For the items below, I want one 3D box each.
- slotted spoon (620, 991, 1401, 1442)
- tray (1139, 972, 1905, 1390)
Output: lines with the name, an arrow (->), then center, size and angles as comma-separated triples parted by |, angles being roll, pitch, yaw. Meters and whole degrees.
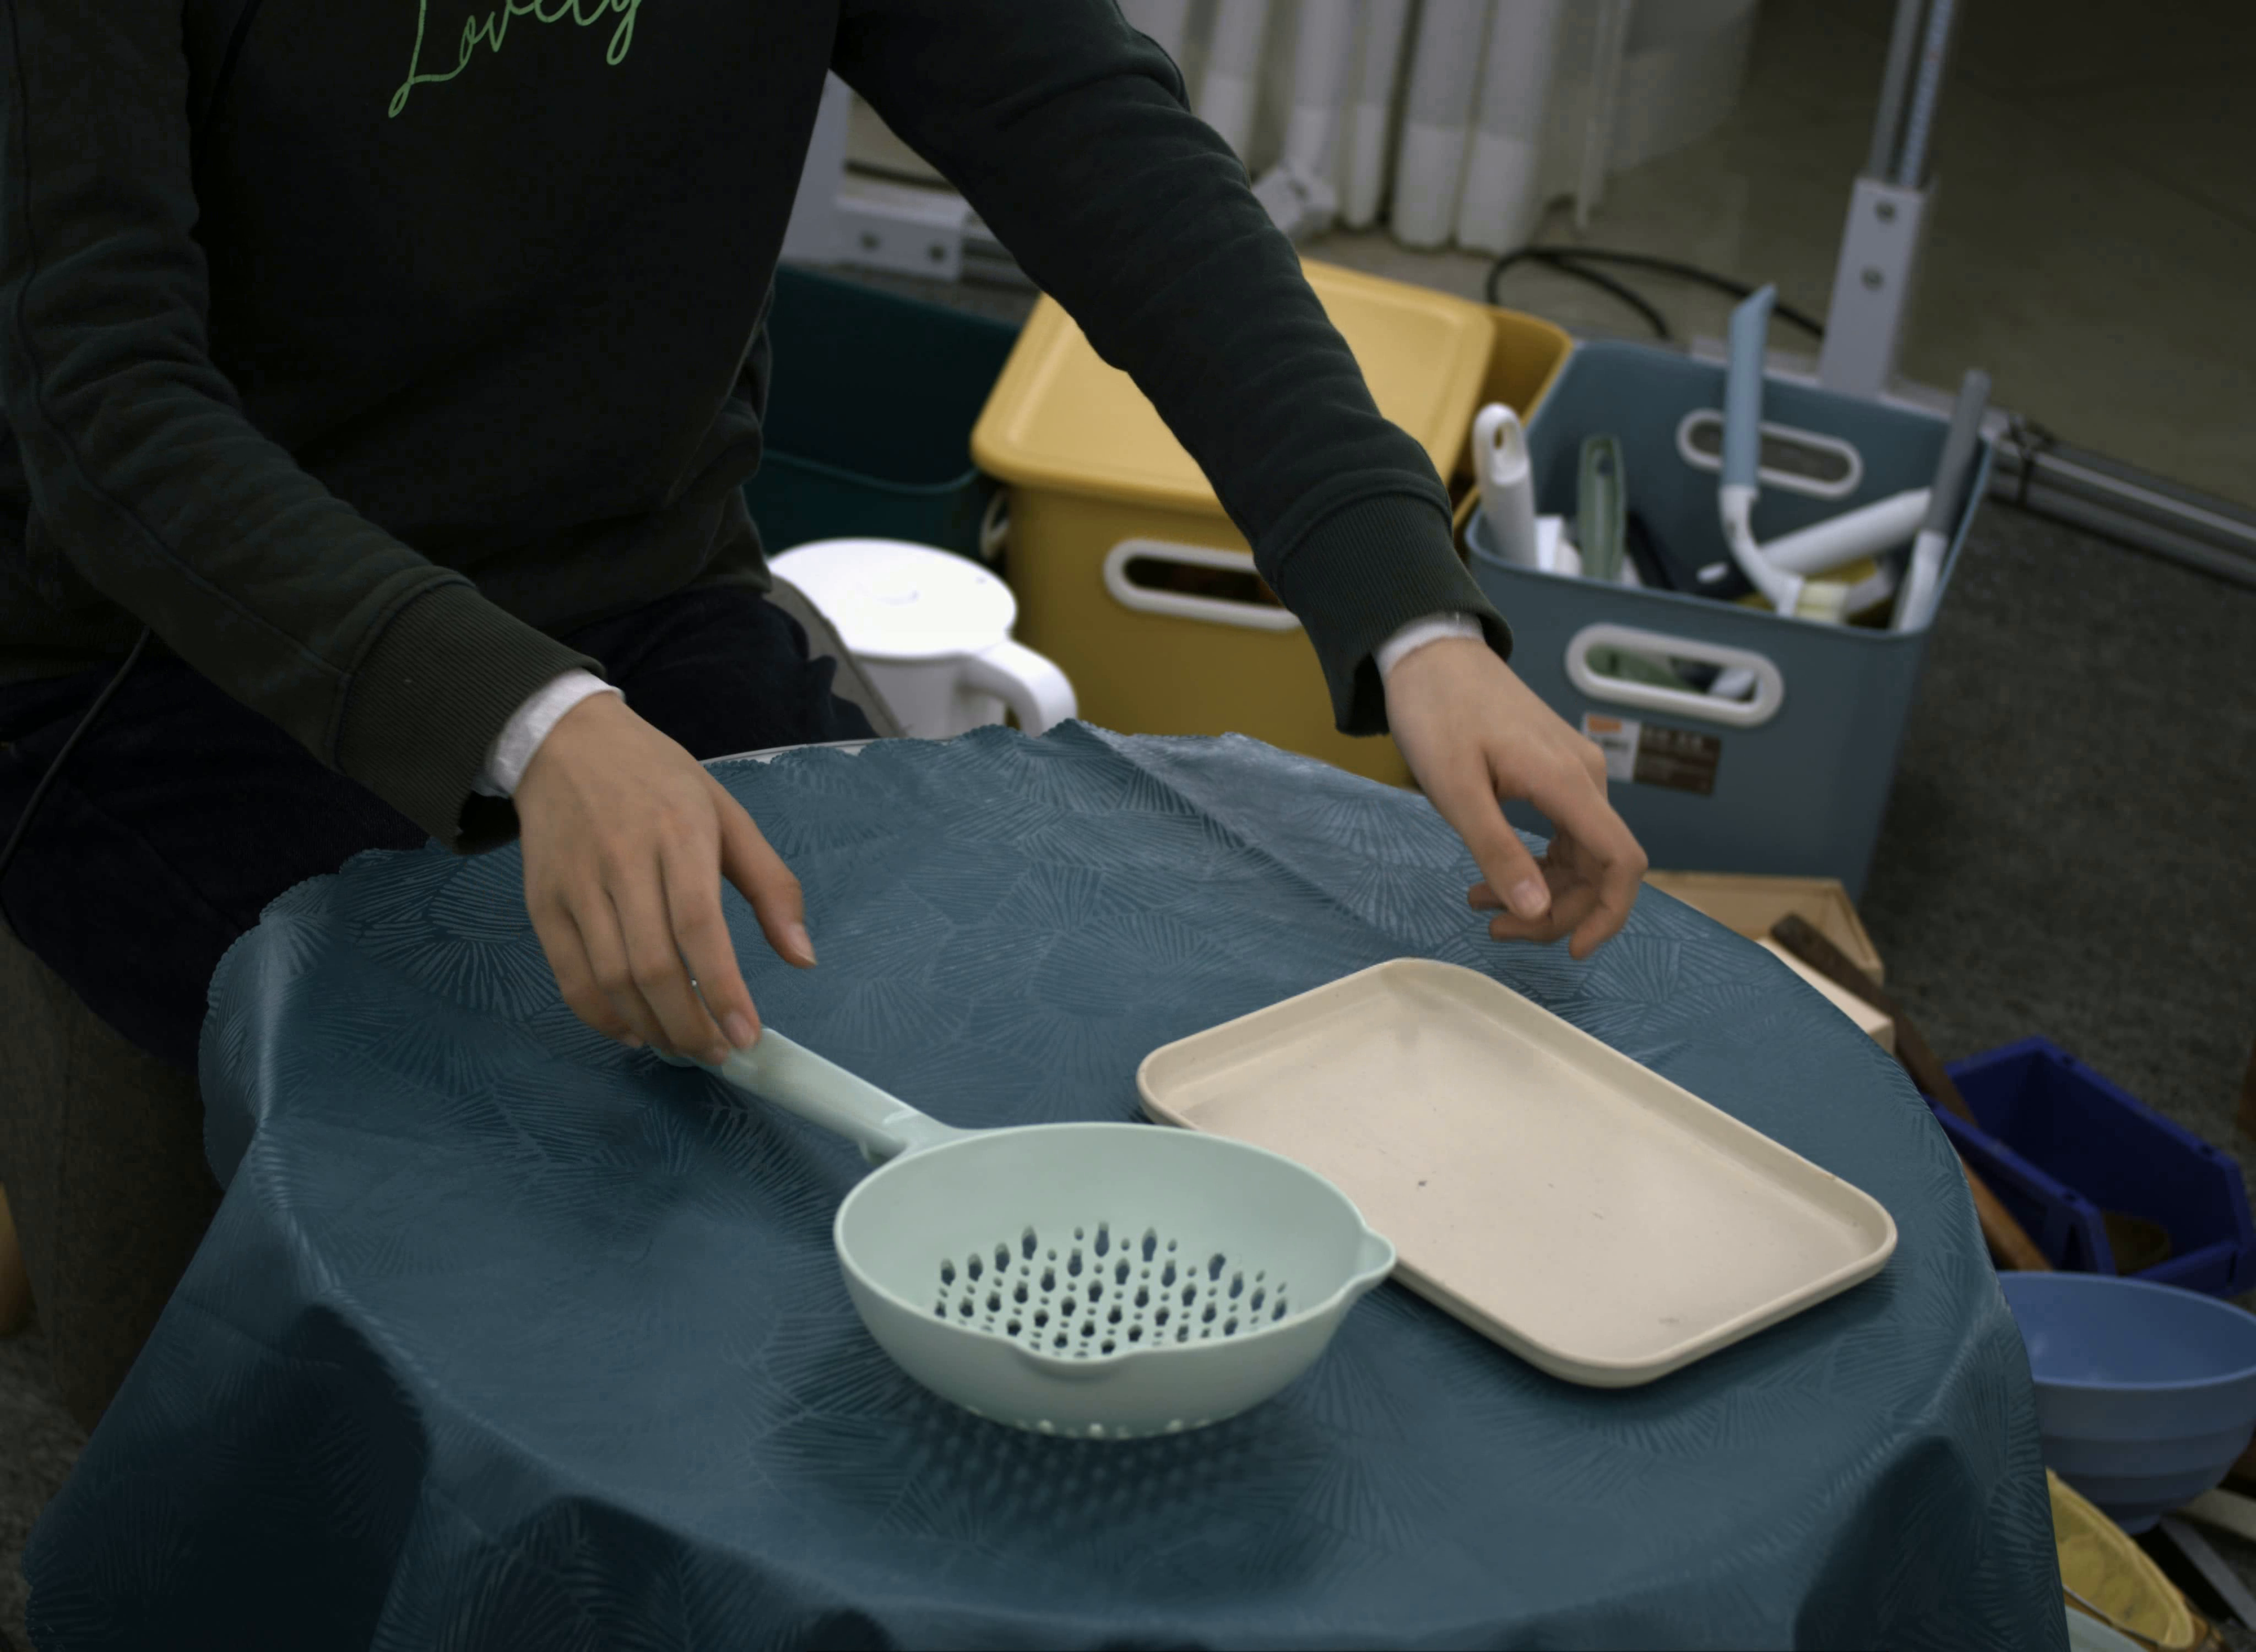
slotted spoon -> -0.067, 0.111, 1.741 | 0.168, 0.075, 0.362 | -12, 31, -35
tray -> 0.132, 0.120, 1.820 | 0.170, 0.017, 0.241 | -18, 35, -40
